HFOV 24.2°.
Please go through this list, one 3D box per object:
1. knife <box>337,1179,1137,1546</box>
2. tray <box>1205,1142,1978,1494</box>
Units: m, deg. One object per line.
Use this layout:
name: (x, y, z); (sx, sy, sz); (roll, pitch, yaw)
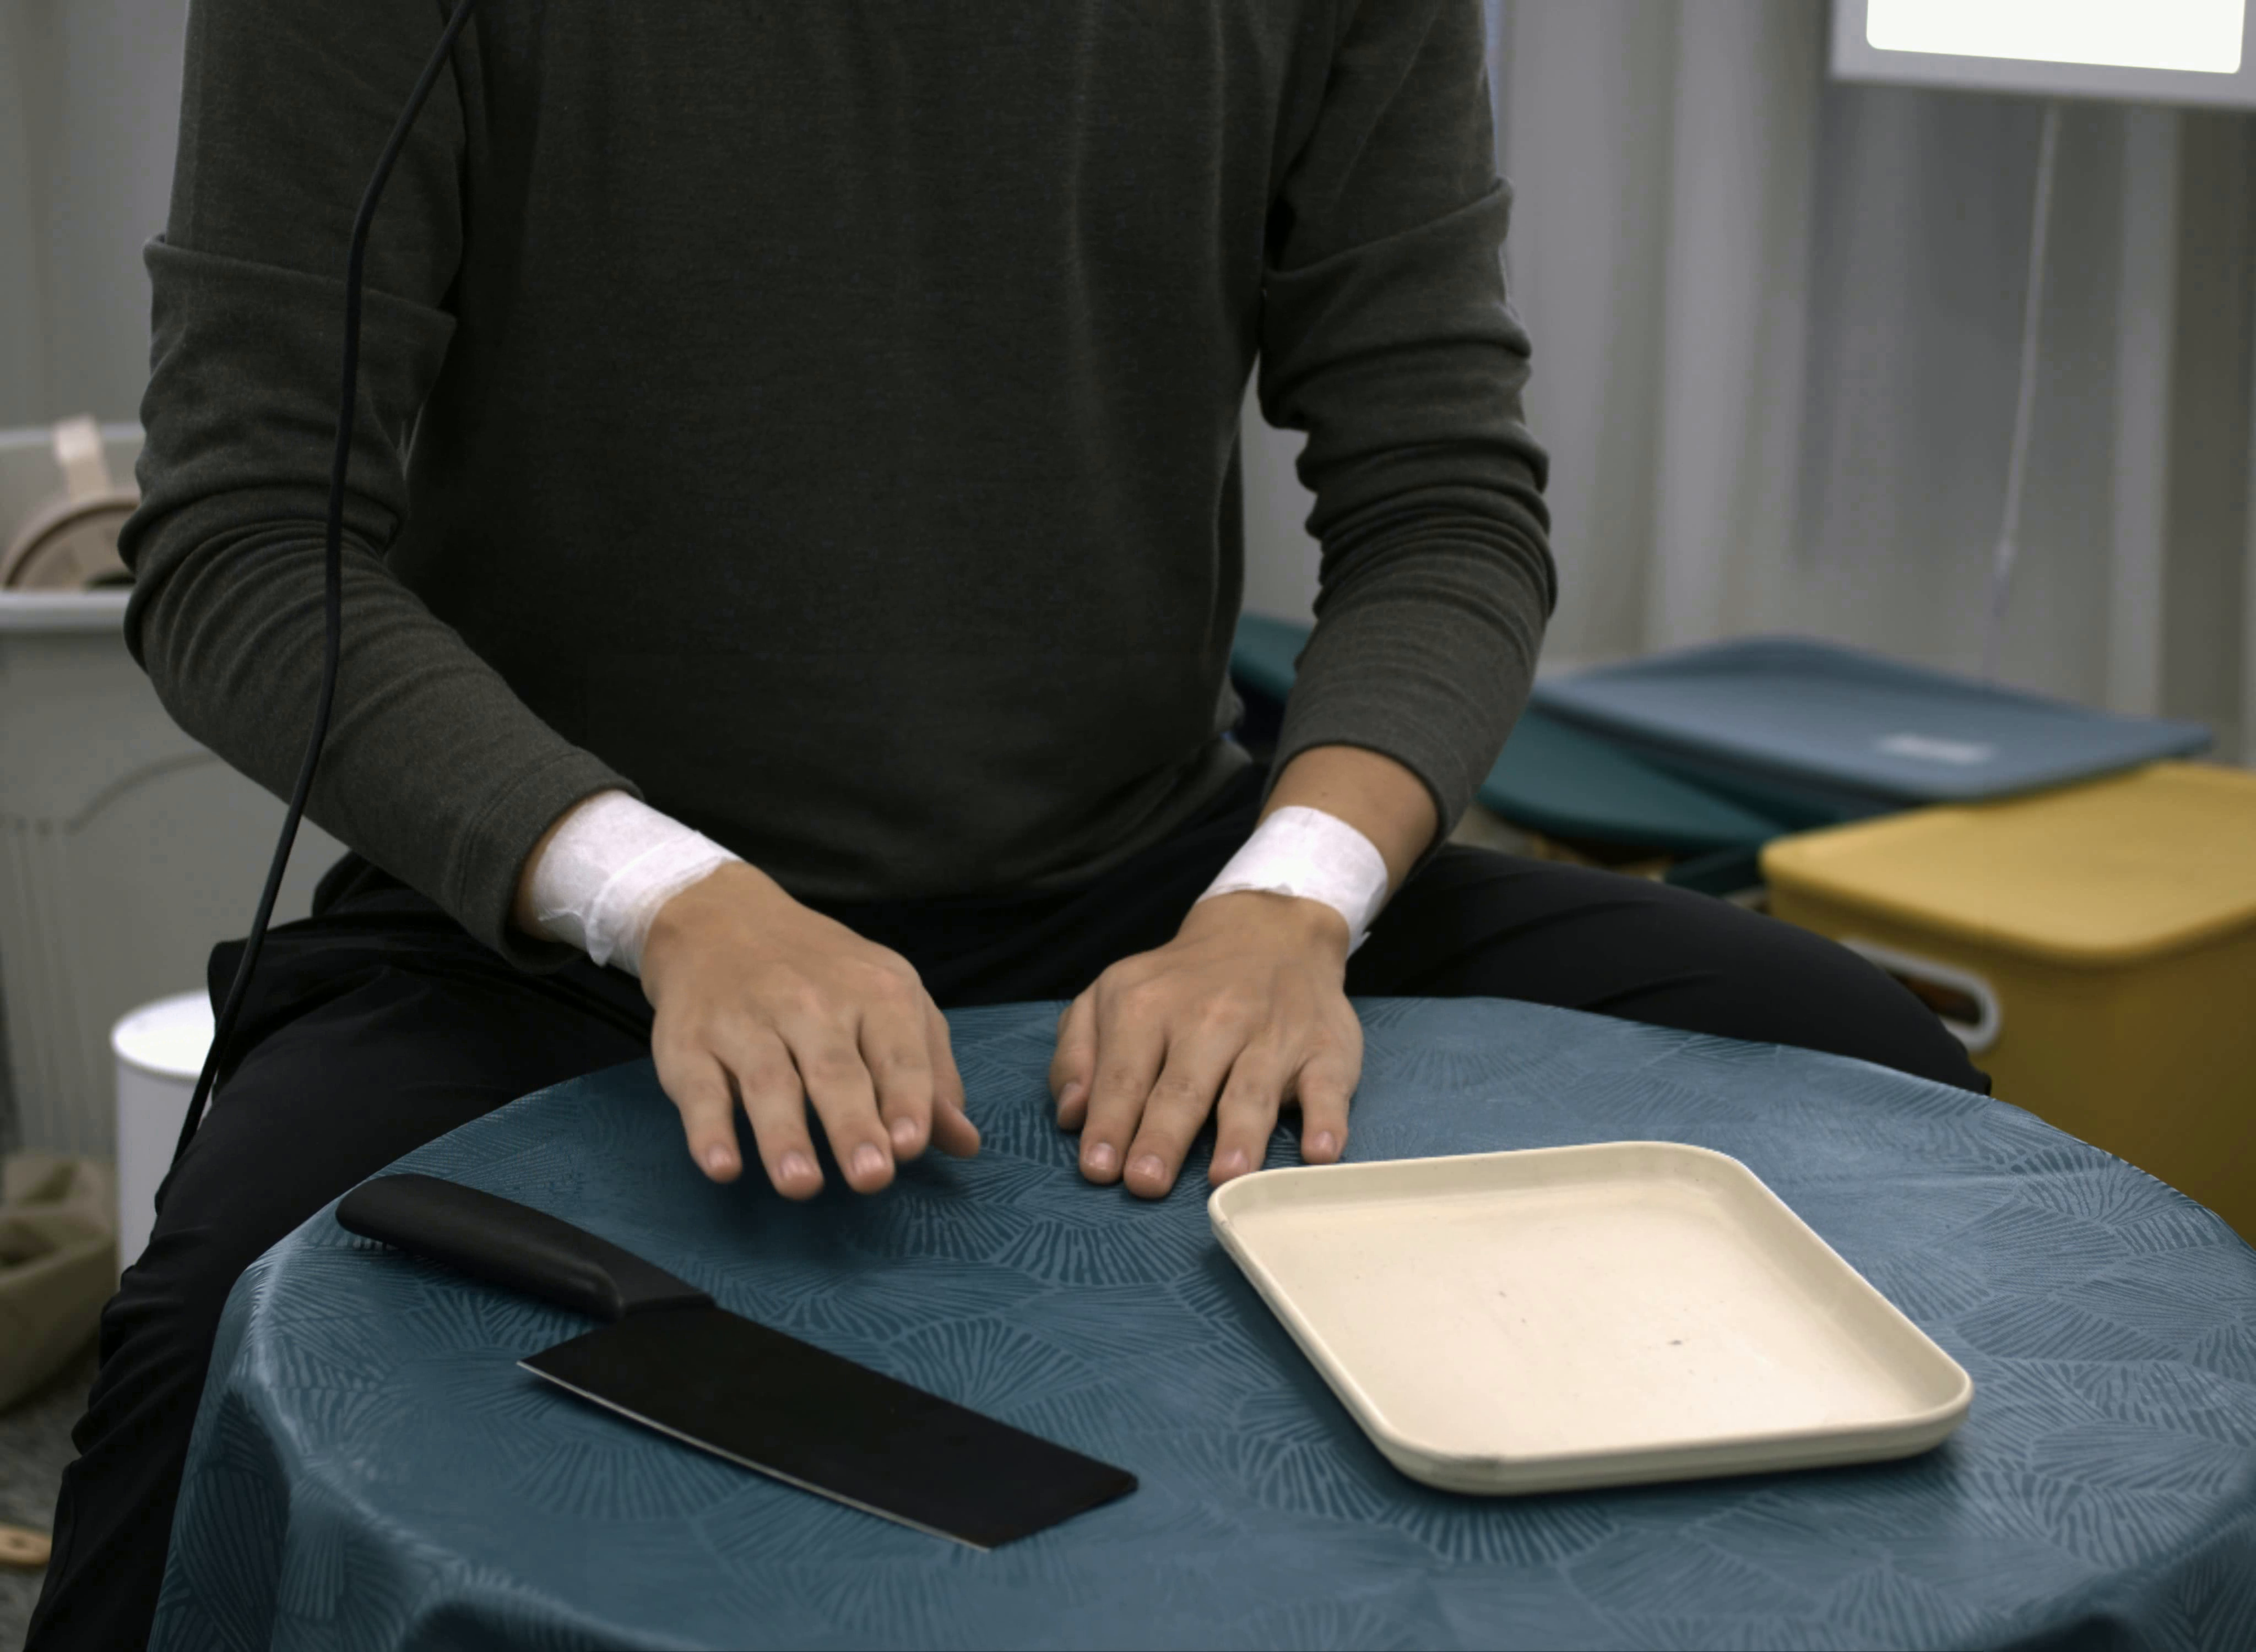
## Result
knife: (-0.123, 0.148, 1.468); (0.081, 0.021, 0.298); (-15, 23, -41)
tray: (0.127, 0.138, 1.501); (0.171, 0.017, 0.237); (-3, 16, -14)
